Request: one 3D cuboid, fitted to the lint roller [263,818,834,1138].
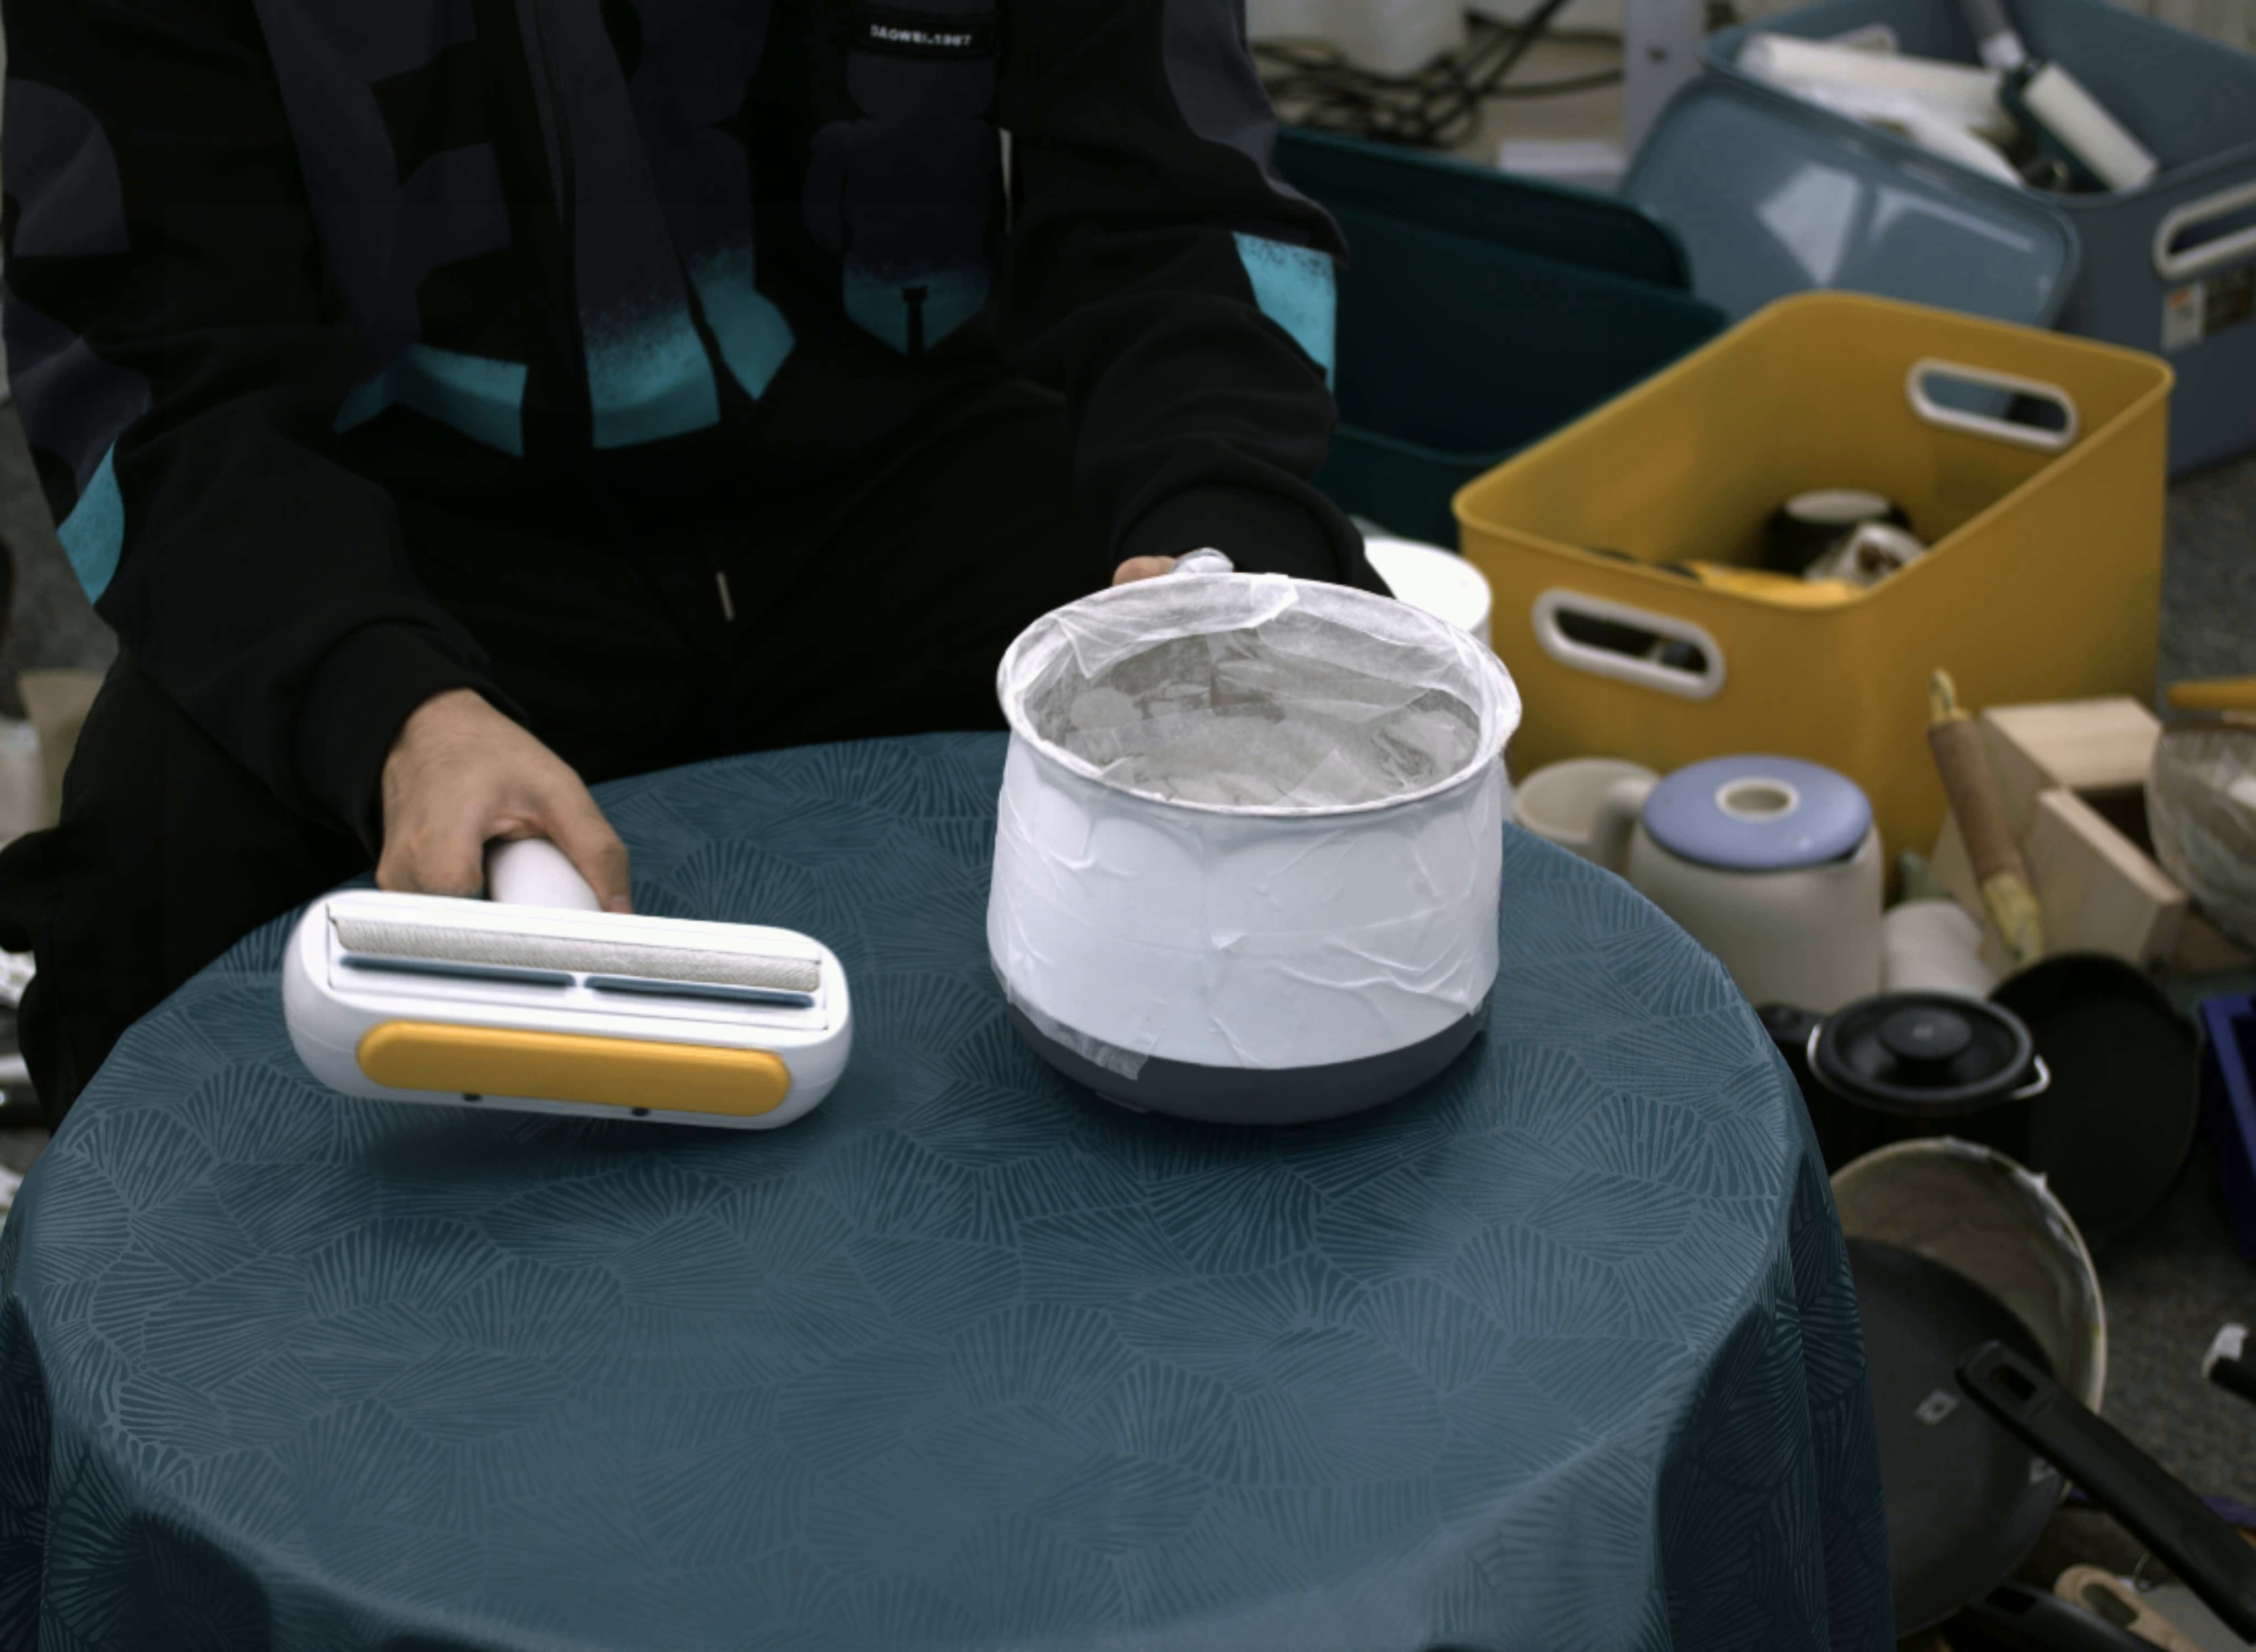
[{"bbox_3d":[-0.201,0.039,1.945,0.192,0.073,0.195,3,31,-9],"label":"lint roller"}]

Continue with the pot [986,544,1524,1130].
[{"bbox_3d":[0.036,-0.003,1.937,0.178,0.135,0.237,-2,28,-11],"label":"pot"}]
